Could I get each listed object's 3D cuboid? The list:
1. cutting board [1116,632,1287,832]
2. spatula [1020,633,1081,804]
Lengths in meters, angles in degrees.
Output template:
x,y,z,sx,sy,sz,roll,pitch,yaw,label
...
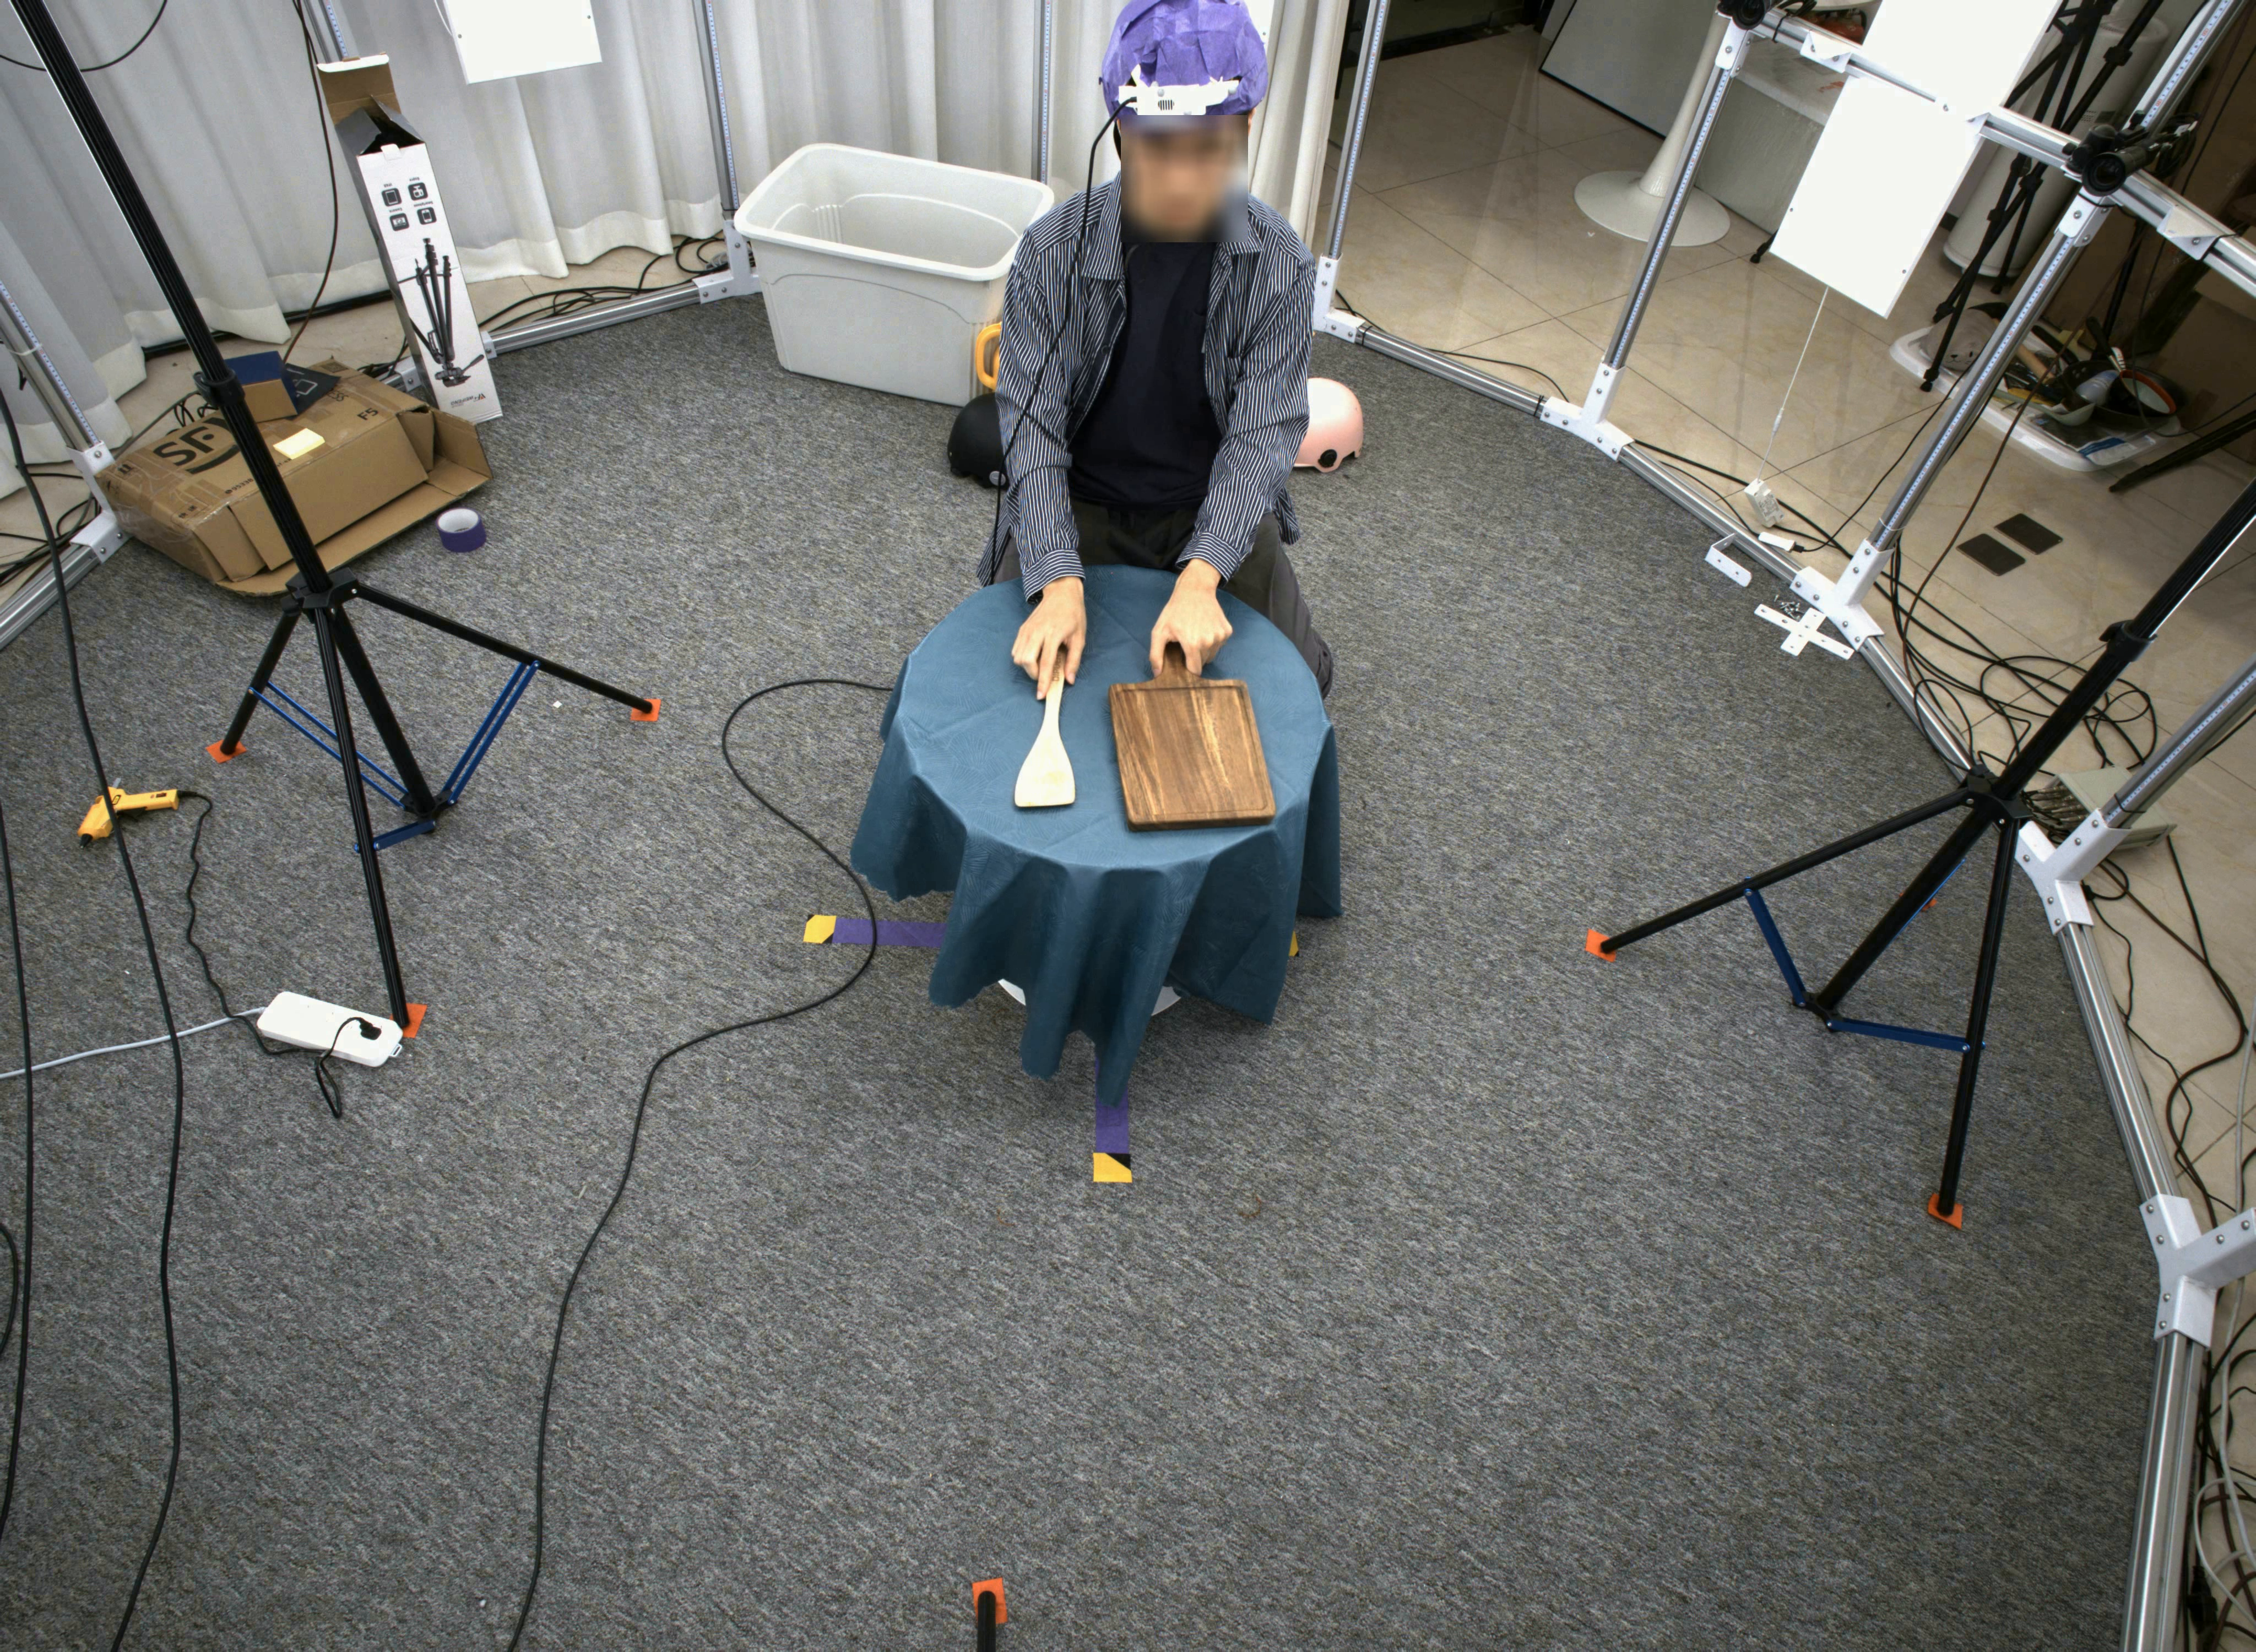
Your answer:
x,y,z,sx,sy,sz,roll,pitch,yaw,label
0.090,-0.139,1.767,0.201,0.022,0.361,-2,51,-7,cutting board
-0.101,-0.153,1.769,0.080,0.016,0.336,4,51,-4,spatula
